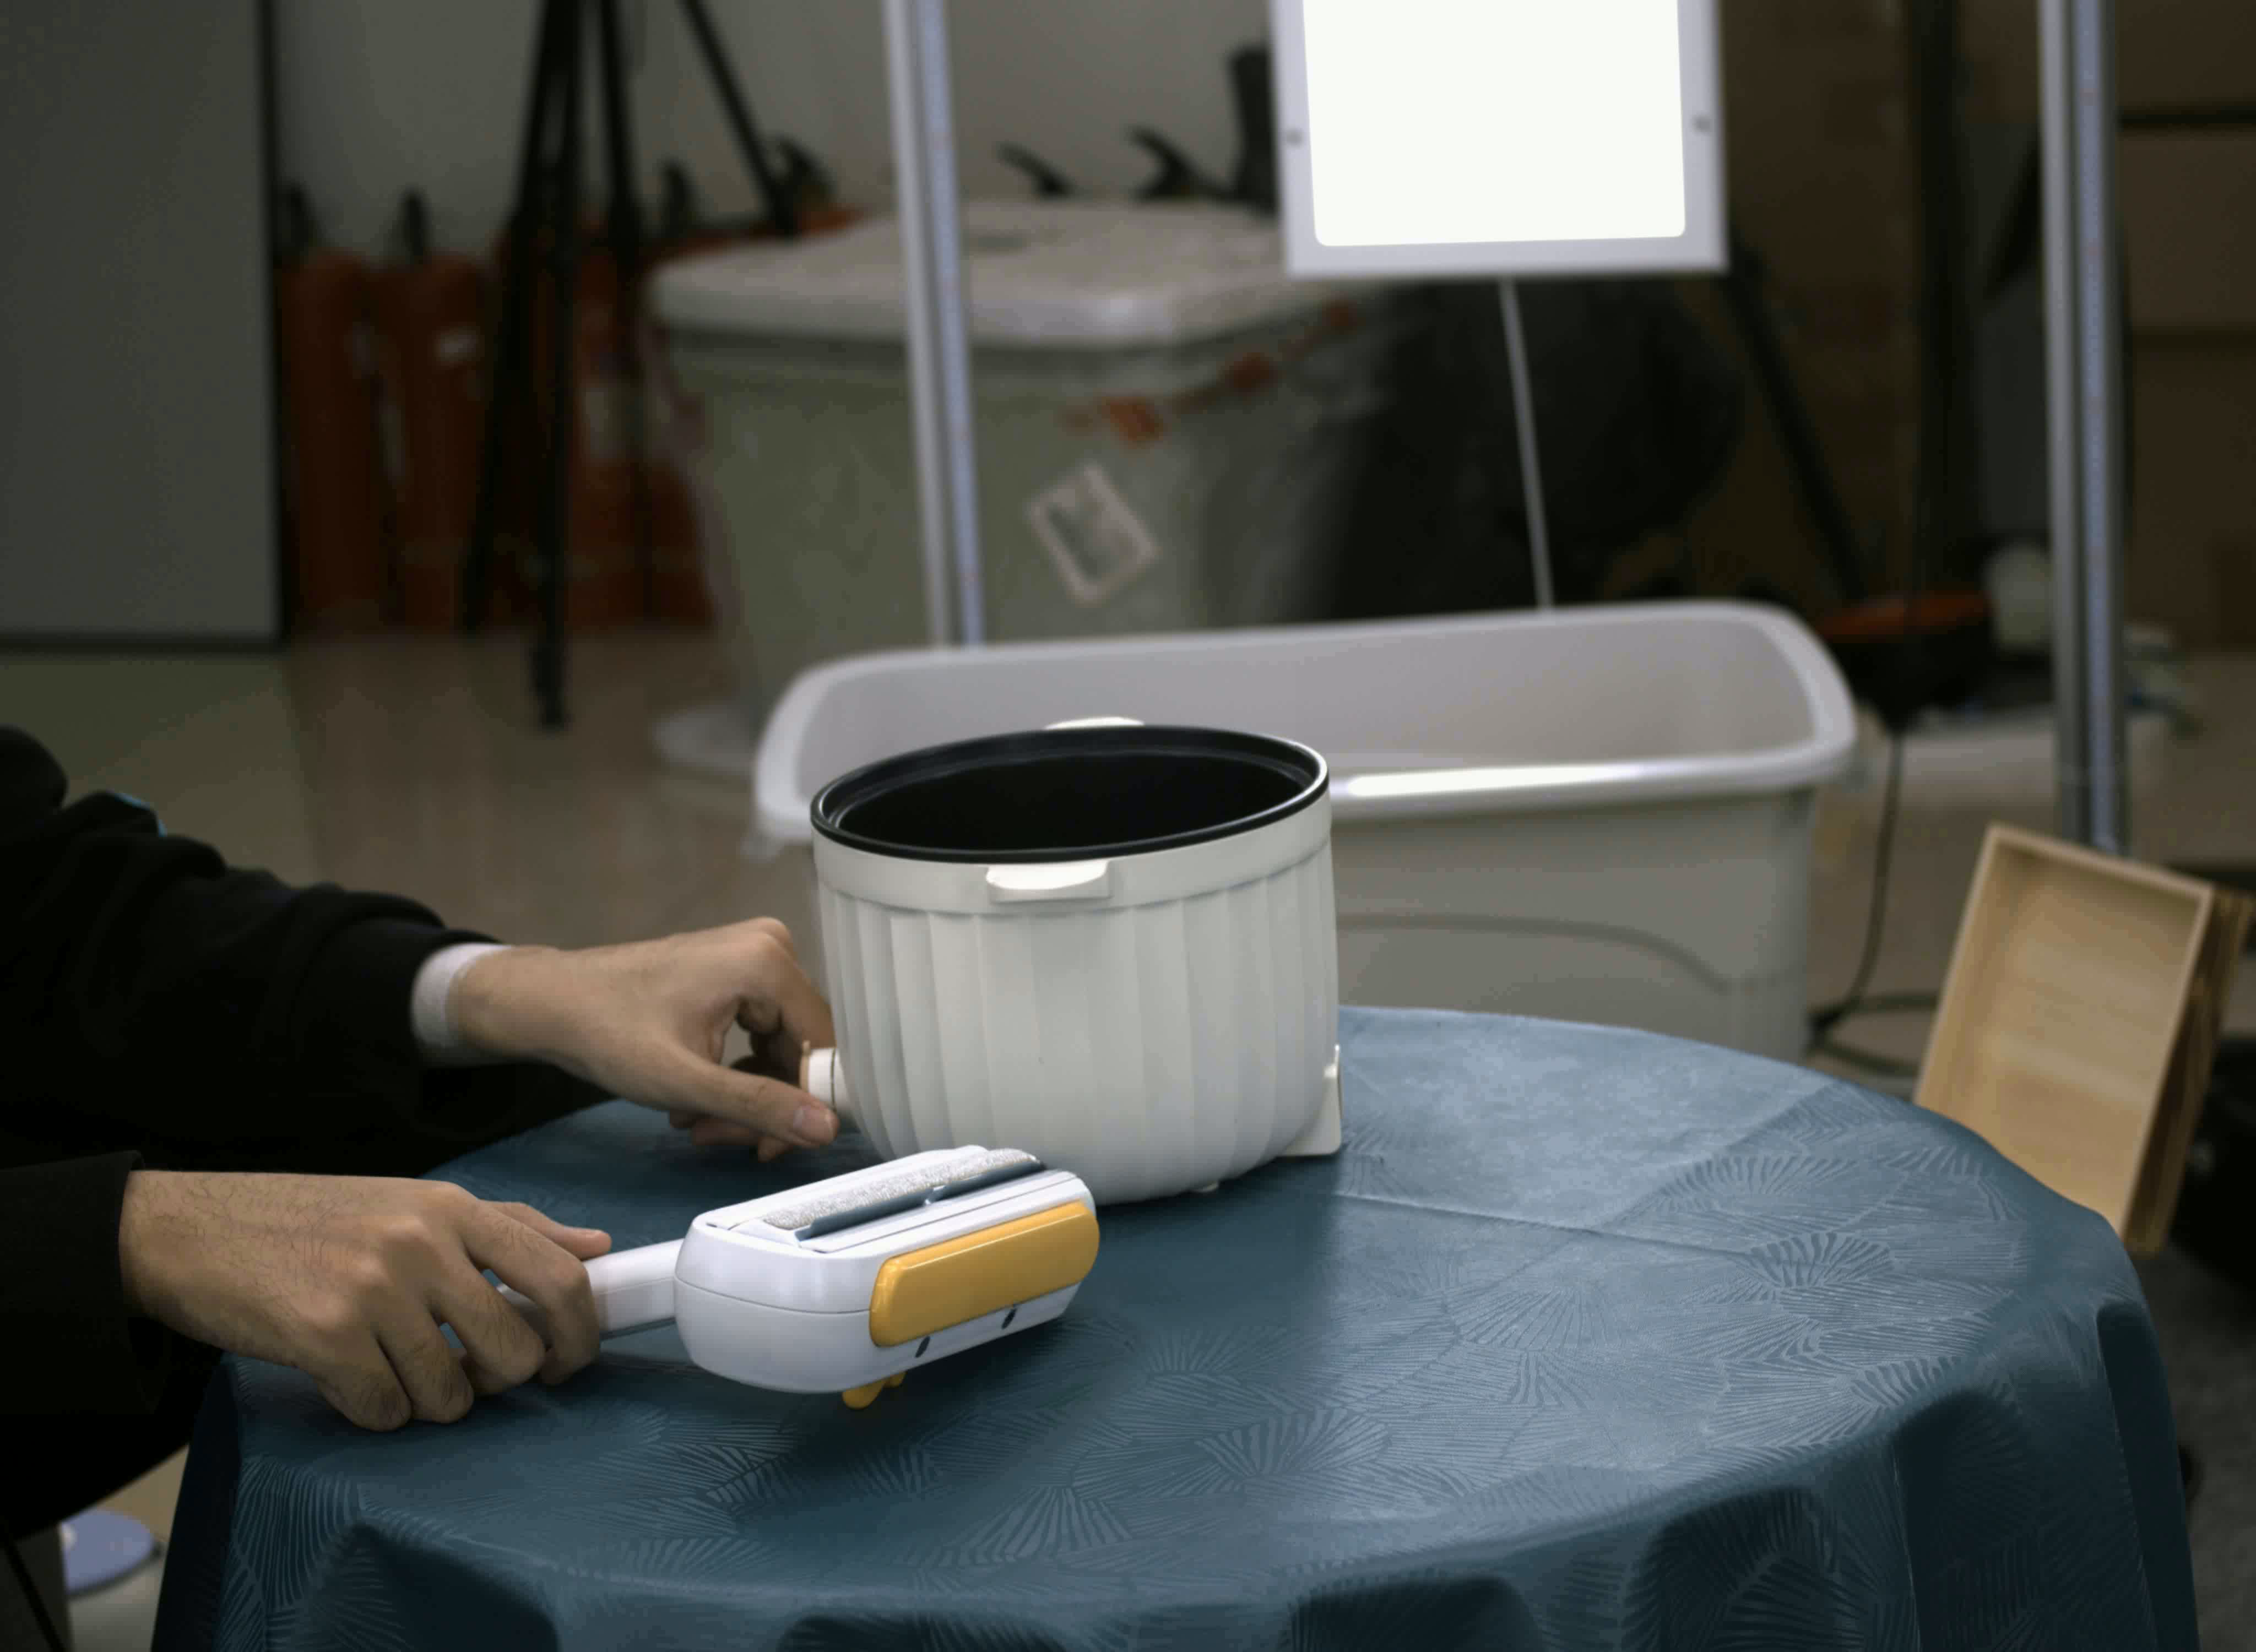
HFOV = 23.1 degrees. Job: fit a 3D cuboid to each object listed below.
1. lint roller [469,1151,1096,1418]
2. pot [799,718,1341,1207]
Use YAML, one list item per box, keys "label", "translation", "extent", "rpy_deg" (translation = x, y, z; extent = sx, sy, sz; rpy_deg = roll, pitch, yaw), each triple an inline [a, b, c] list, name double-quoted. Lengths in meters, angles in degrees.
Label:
- label: "lint roller"
  translation: [-0.127, 0.142, 1.735]
  extent: [0.196, 0.074, 0.188]
  rpy_deg: [2, 10, 31]
- label: "pot"
  translation: [-0.021, 0.051, 1.918]
  extent: [0.191, 0.143, 0.239]
  rpy_deg: [-1, 13, 5]
